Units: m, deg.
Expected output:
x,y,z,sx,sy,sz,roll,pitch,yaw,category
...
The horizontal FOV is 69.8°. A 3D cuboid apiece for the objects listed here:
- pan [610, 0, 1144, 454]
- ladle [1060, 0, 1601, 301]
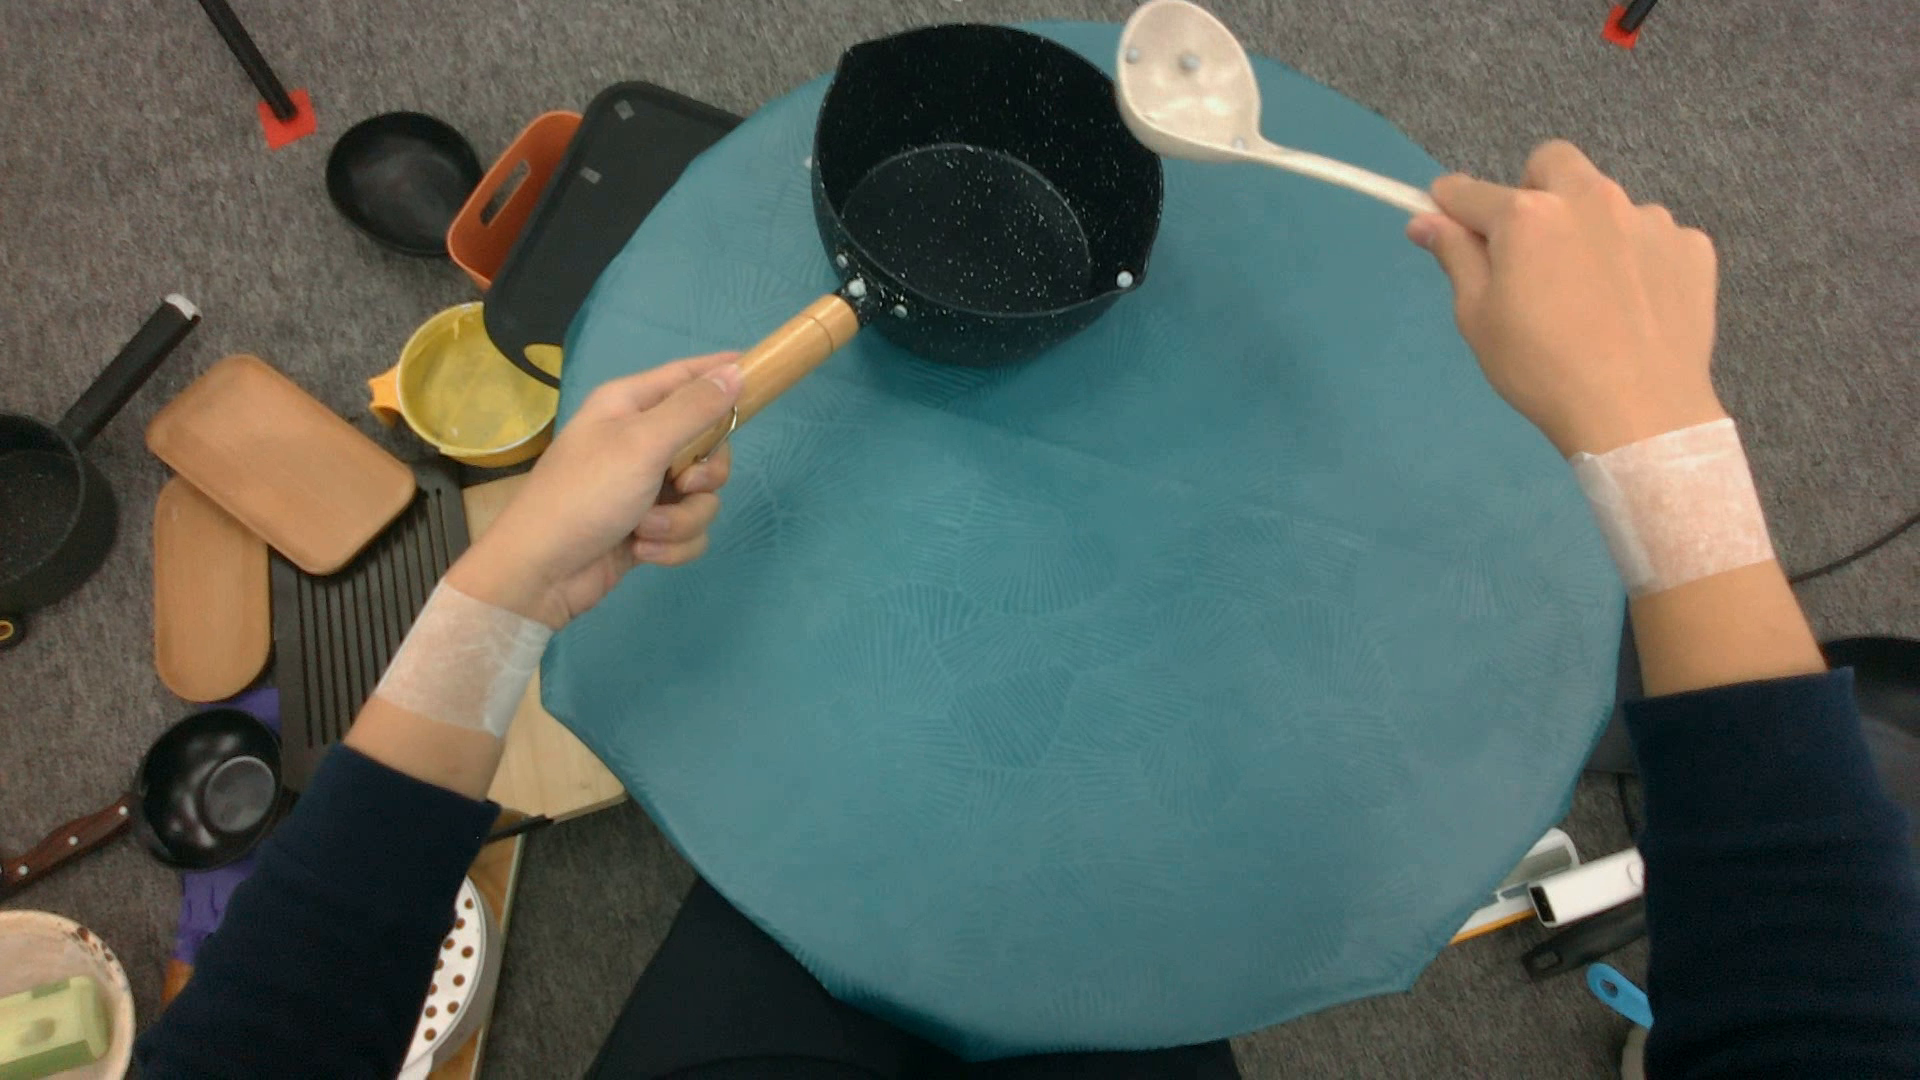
x,y,z,sx,sy,sz,roll,pitch,yaw,category
-0.047,-0.141,0.699,0.207,0.108,0.344,39,64,4,pan
0.155,-0.181,0.590,0.090,0.069,0.275,-20,40,-38,ladle
